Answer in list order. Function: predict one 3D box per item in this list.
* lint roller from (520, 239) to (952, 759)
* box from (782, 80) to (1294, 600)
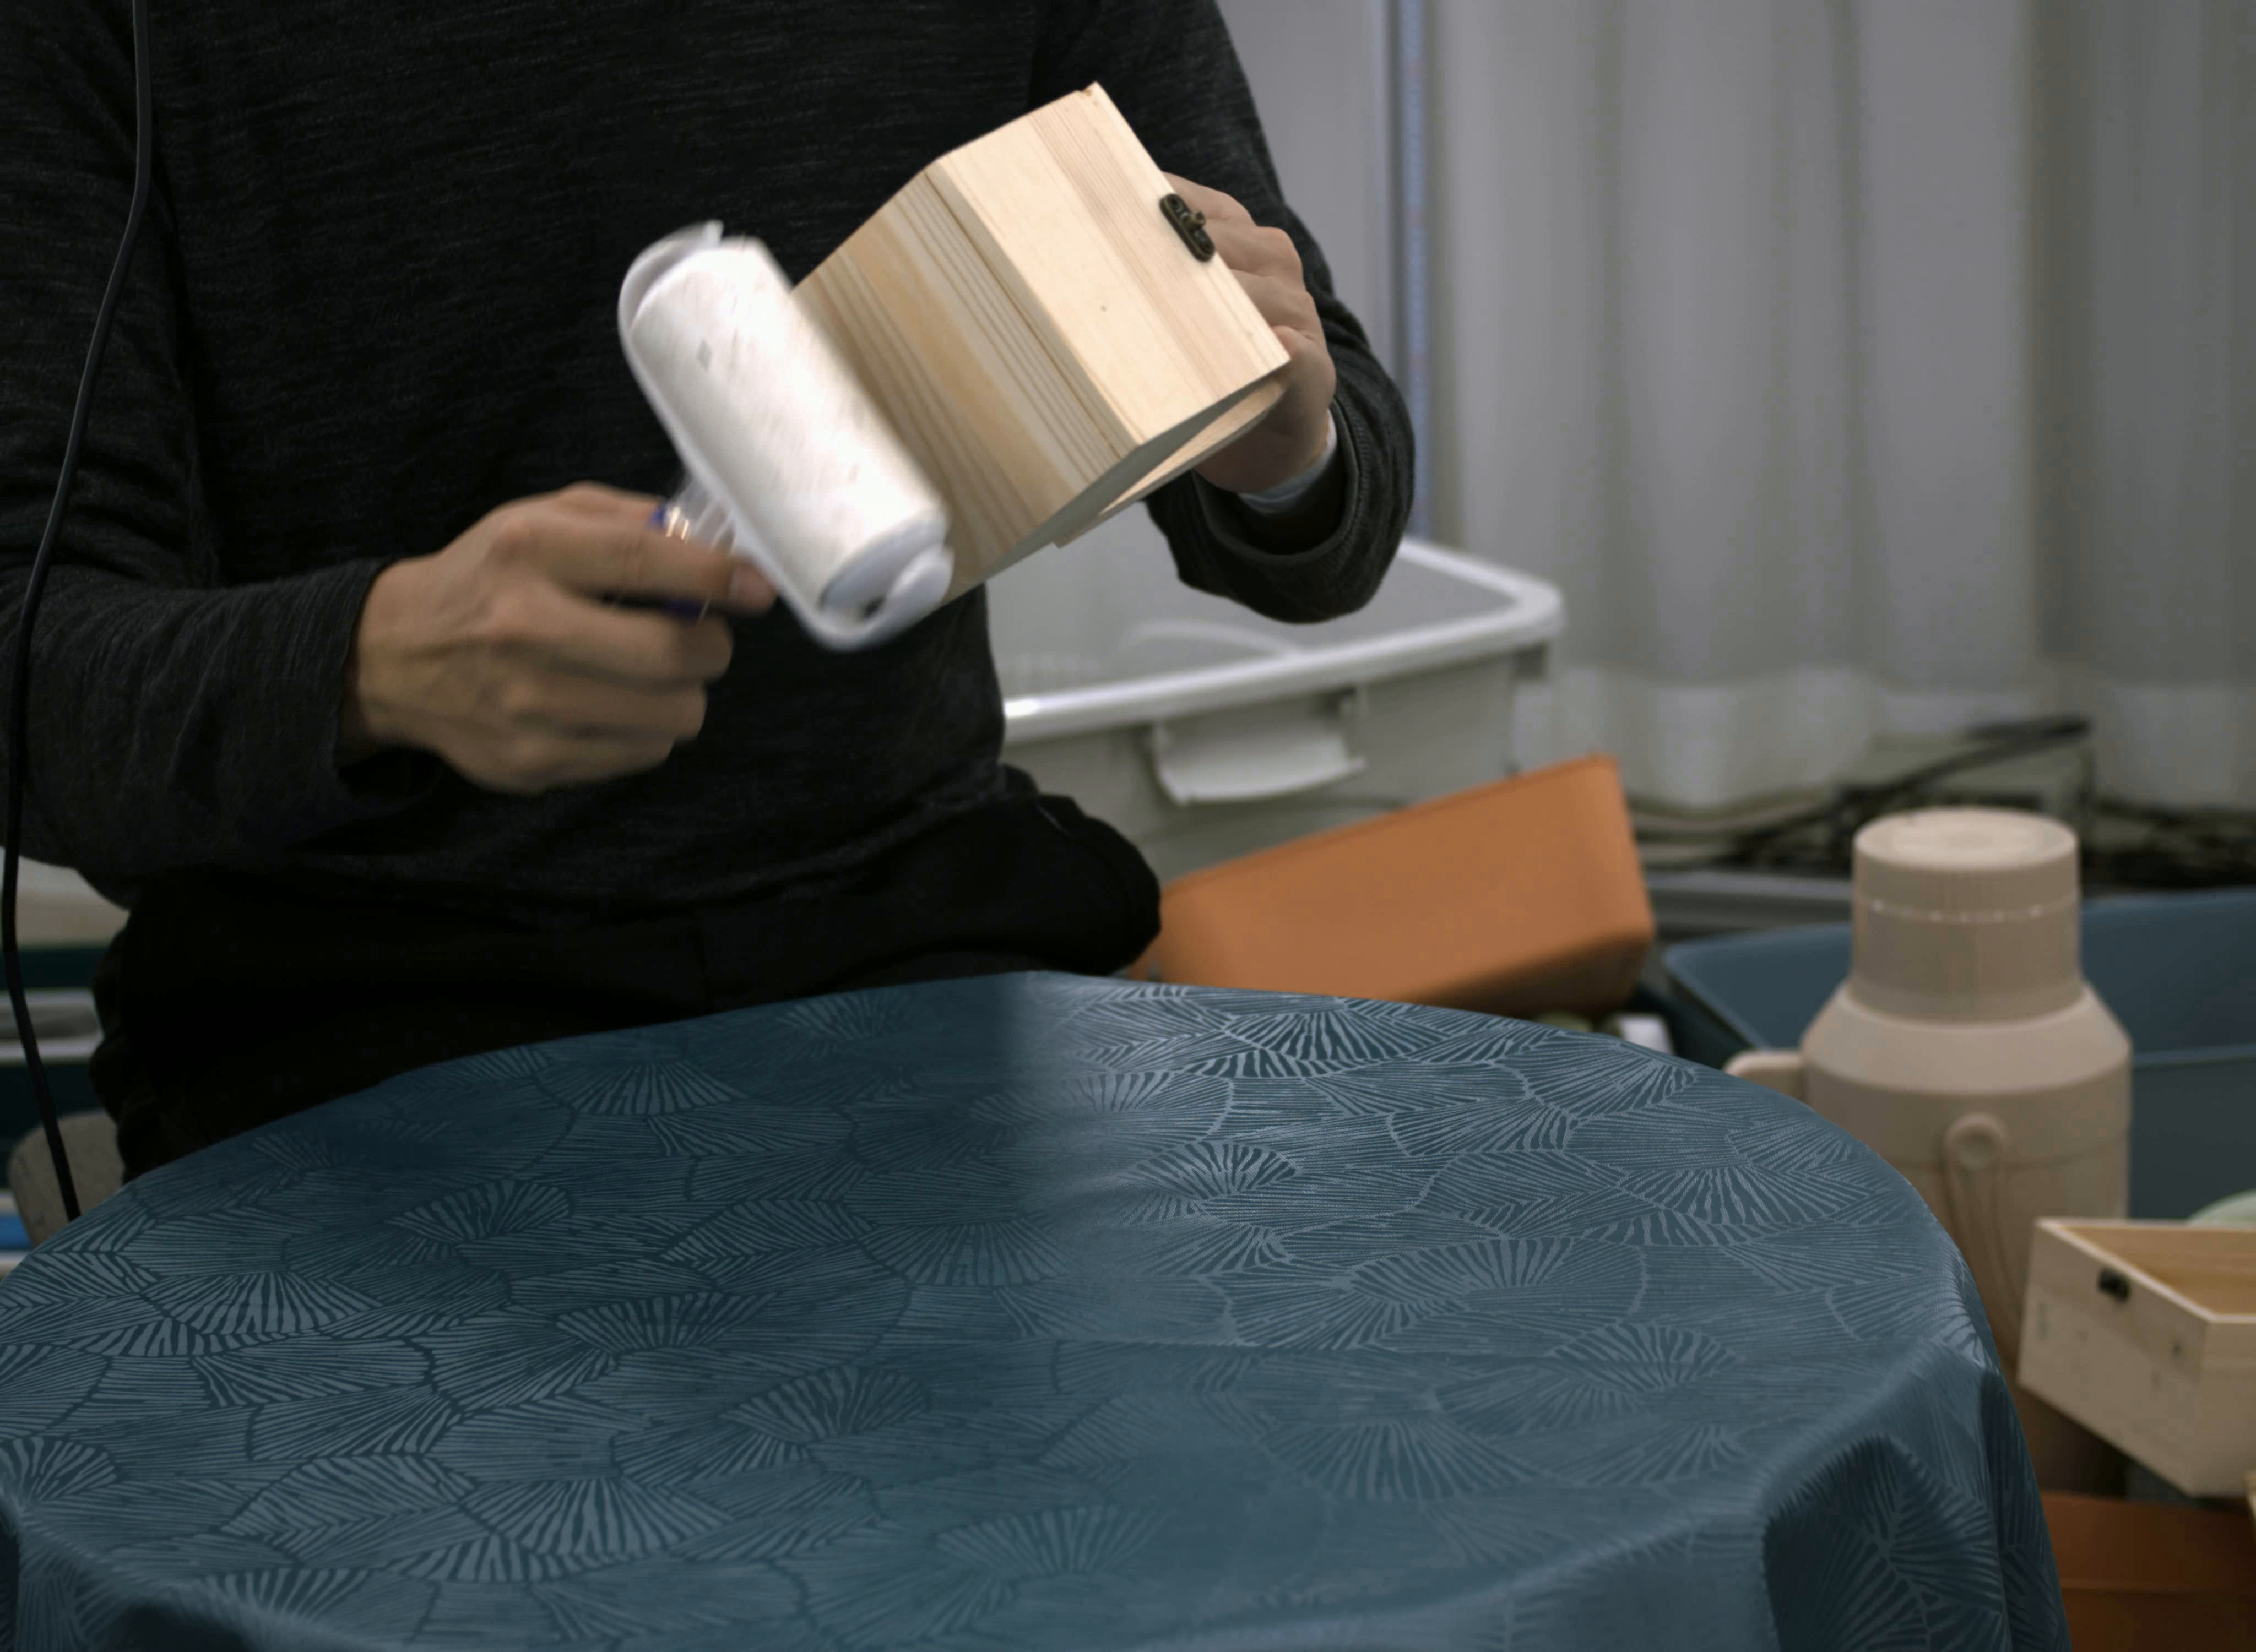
[{"bbox_3d":[-0.138,-0.075,1.607,0.180,0.134,0.050,-41,-14,33],"label":"lint roller"},{"bbox_3d":[-0.005,-0.158,1.658,0.185,0.103,0.133,-32,-4,-47],"label":"box"}]
